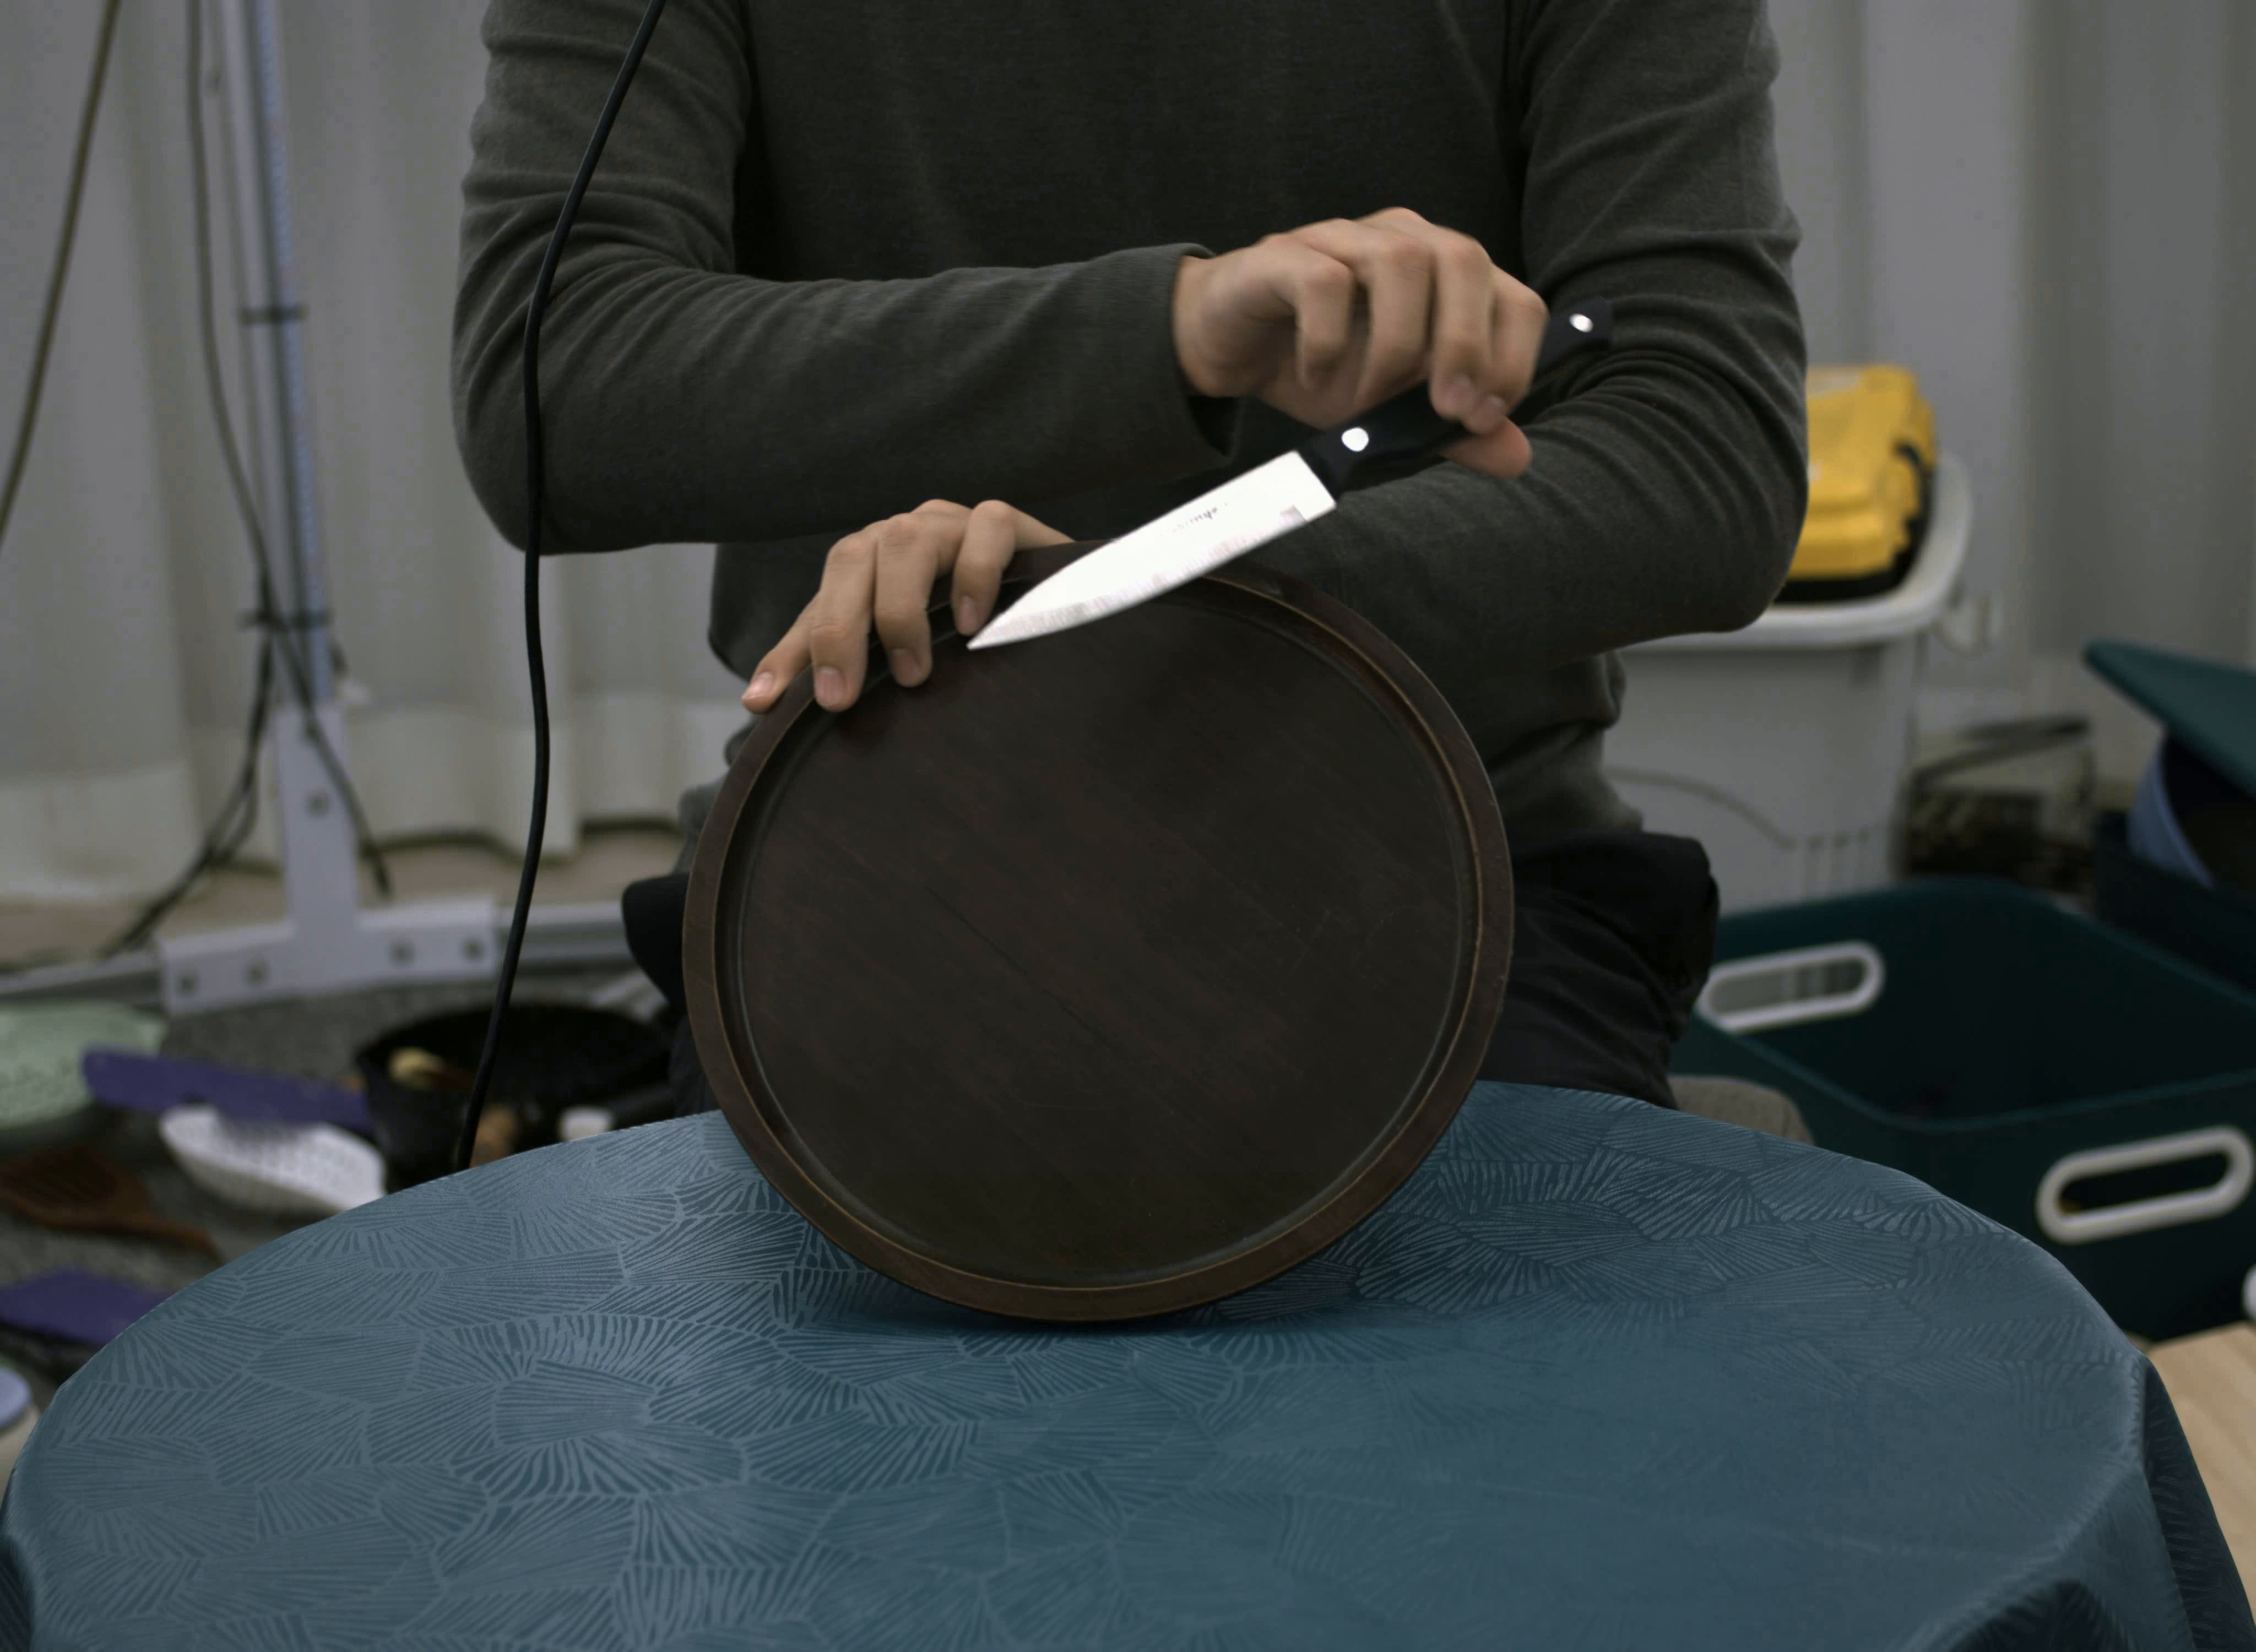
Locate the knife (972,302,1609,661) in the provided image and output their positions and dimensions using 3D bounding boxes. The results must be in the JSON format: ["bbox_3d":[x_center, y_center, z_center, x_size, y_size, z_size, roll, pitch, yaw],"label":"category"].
[{"bbox_3d":[0.049,-0.105,1.665,0.238,0.024,0.016,-29,-18,-22],"label":"knife"}]

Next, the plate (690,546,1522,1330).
[{"bbox_3d":[-0.007,0.032,1.650,0.254,0.258,0.029,-1,-24,6],"label":"plate"}]
